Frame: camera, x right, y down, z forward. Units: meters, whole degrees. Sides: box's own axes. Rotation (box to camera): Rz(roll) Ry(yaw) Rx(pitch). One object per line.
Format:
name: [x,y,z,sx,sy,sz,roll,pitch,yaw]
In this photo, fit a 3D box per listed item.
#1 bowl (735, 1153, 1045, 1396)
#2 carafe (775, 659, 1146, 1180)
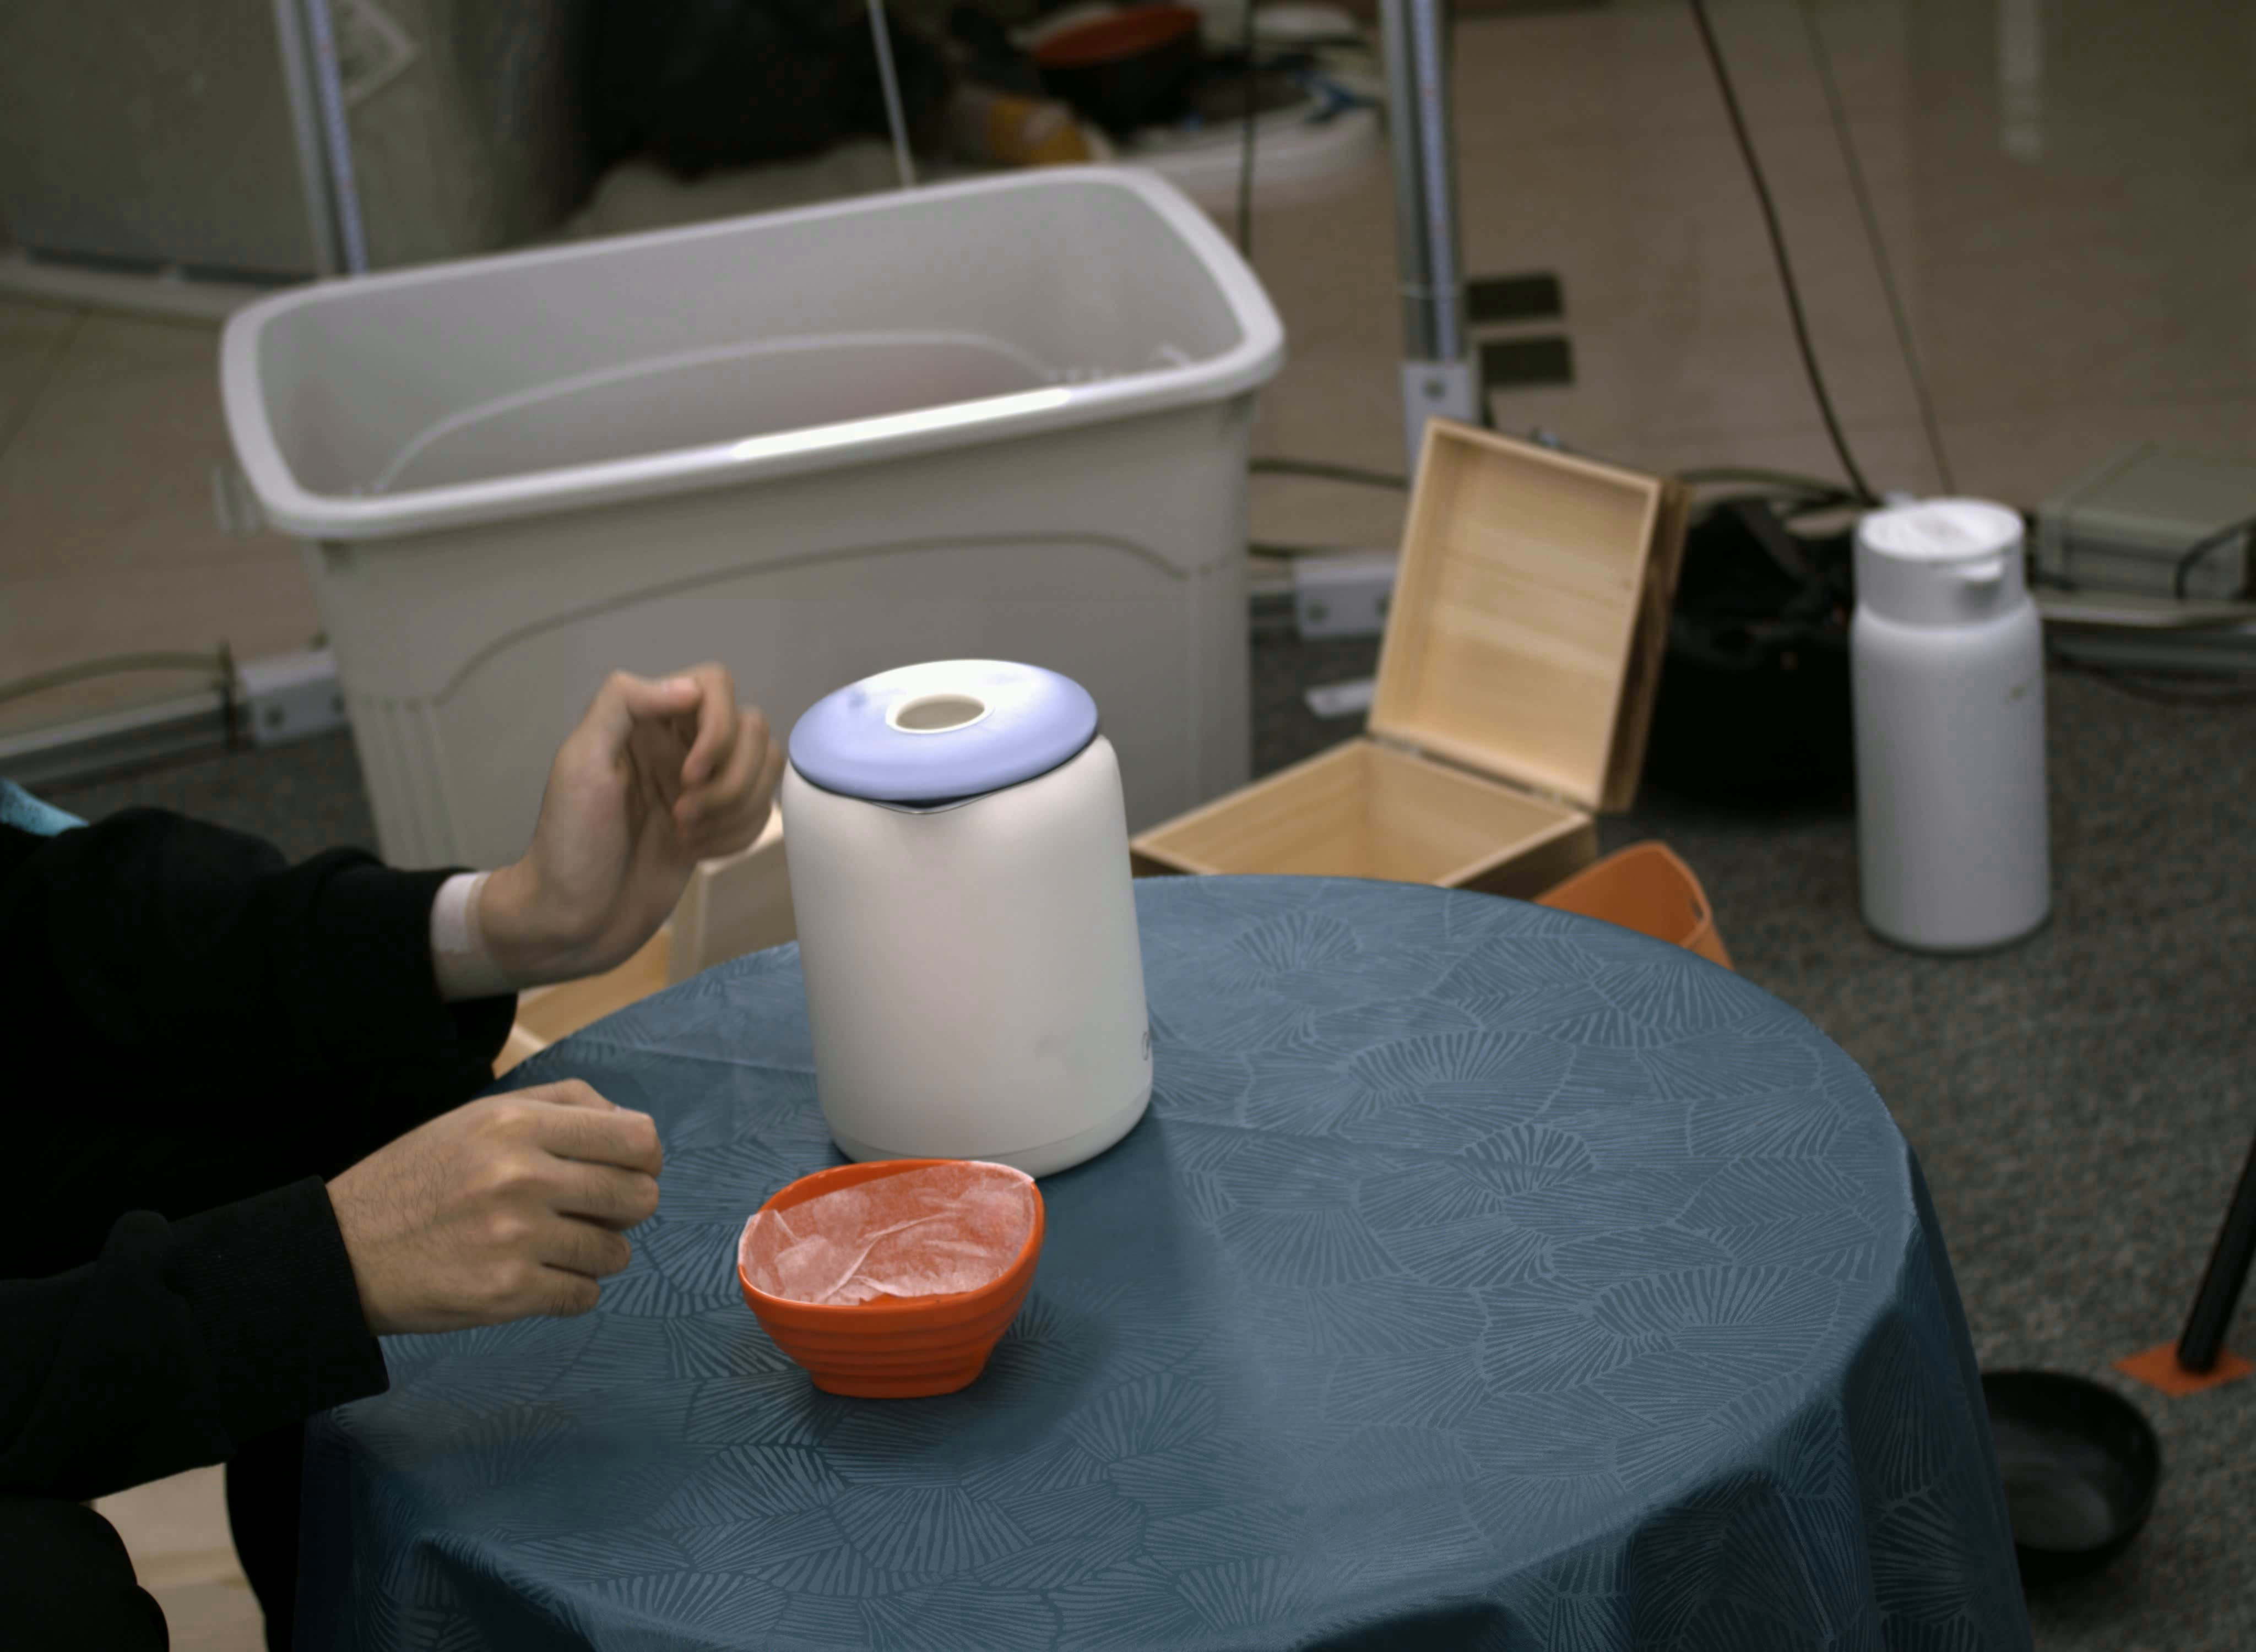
bowl: [-0.084,0.166,2.043,0.119,0.052,0.117,-4,27,2]
carafe: [-0.063,0.028,2.194,0.132,0.185,0.188,-3,23,3]
